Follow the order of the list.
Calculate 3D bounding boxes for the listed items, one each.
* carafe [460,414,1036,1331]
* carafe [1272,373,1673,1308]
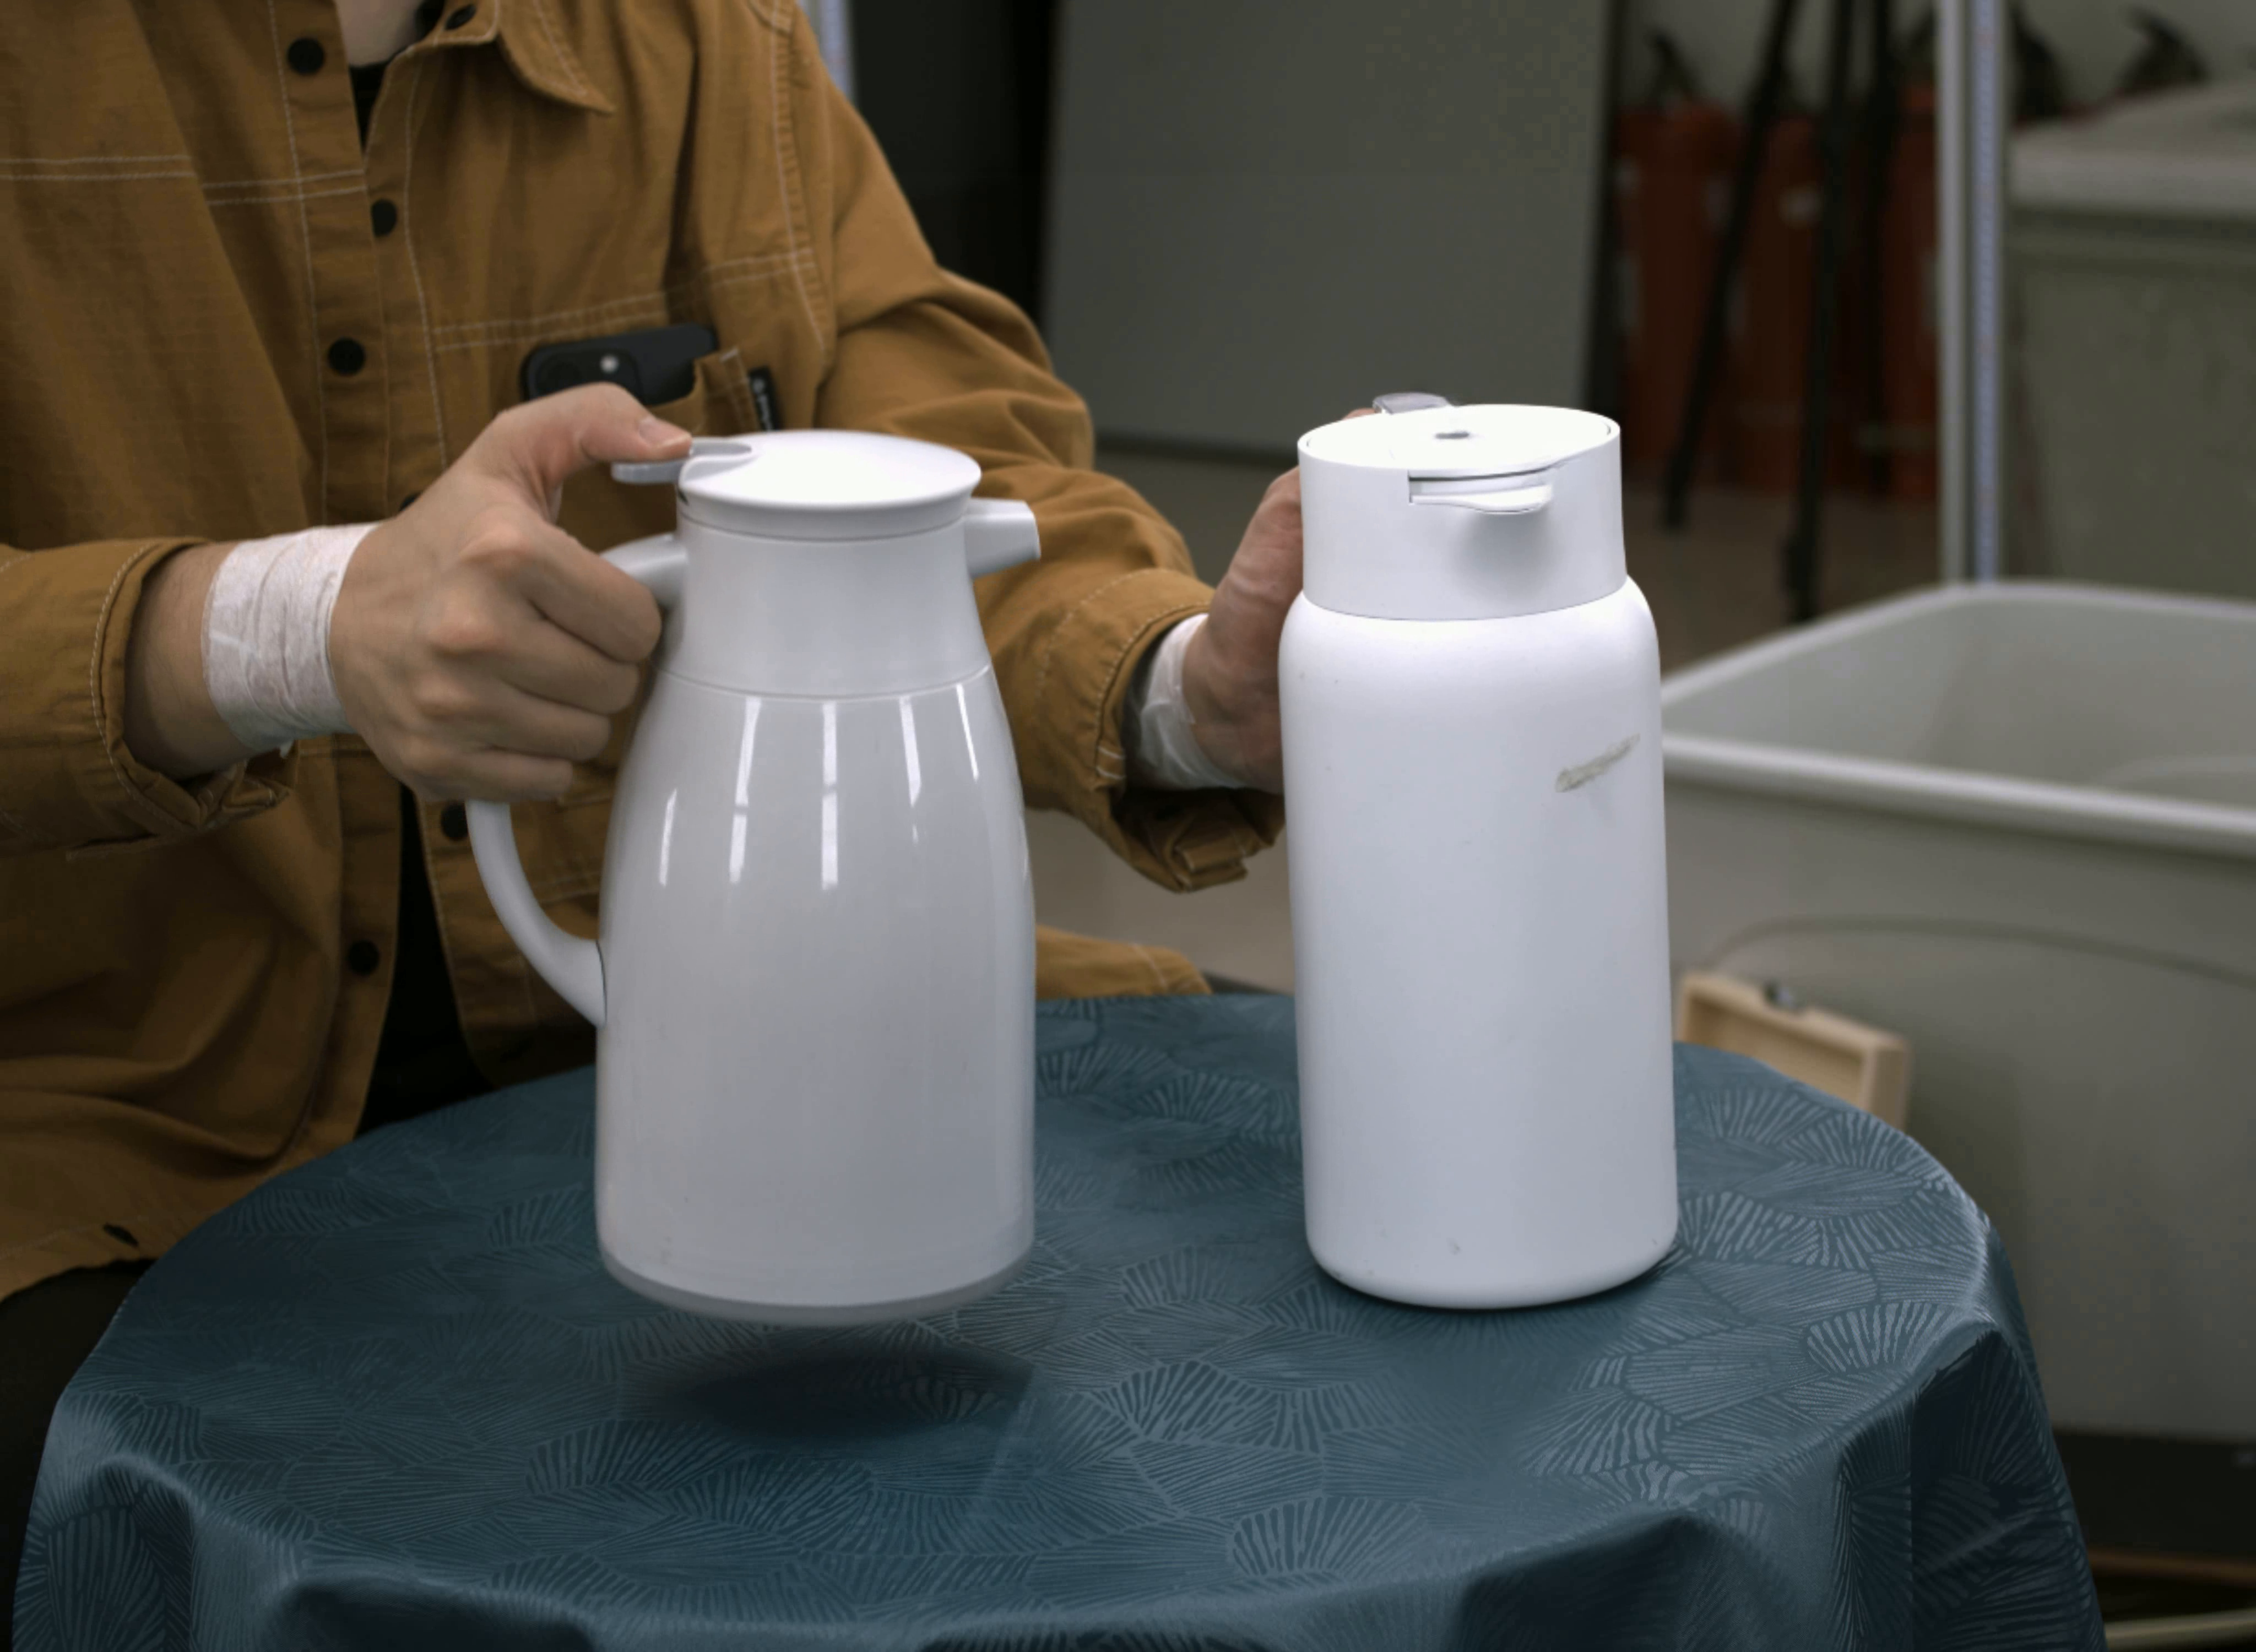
[{"bbox_3d":[-0.109,0.008,1.569,0.165,0.251,0.133,-2,15,-9],"label":"carafe"},{"bbox_3d":[0.100,0.001,1.667,0.121,0.272,0.174,-9,14,-10],"label":"carafe"}]
